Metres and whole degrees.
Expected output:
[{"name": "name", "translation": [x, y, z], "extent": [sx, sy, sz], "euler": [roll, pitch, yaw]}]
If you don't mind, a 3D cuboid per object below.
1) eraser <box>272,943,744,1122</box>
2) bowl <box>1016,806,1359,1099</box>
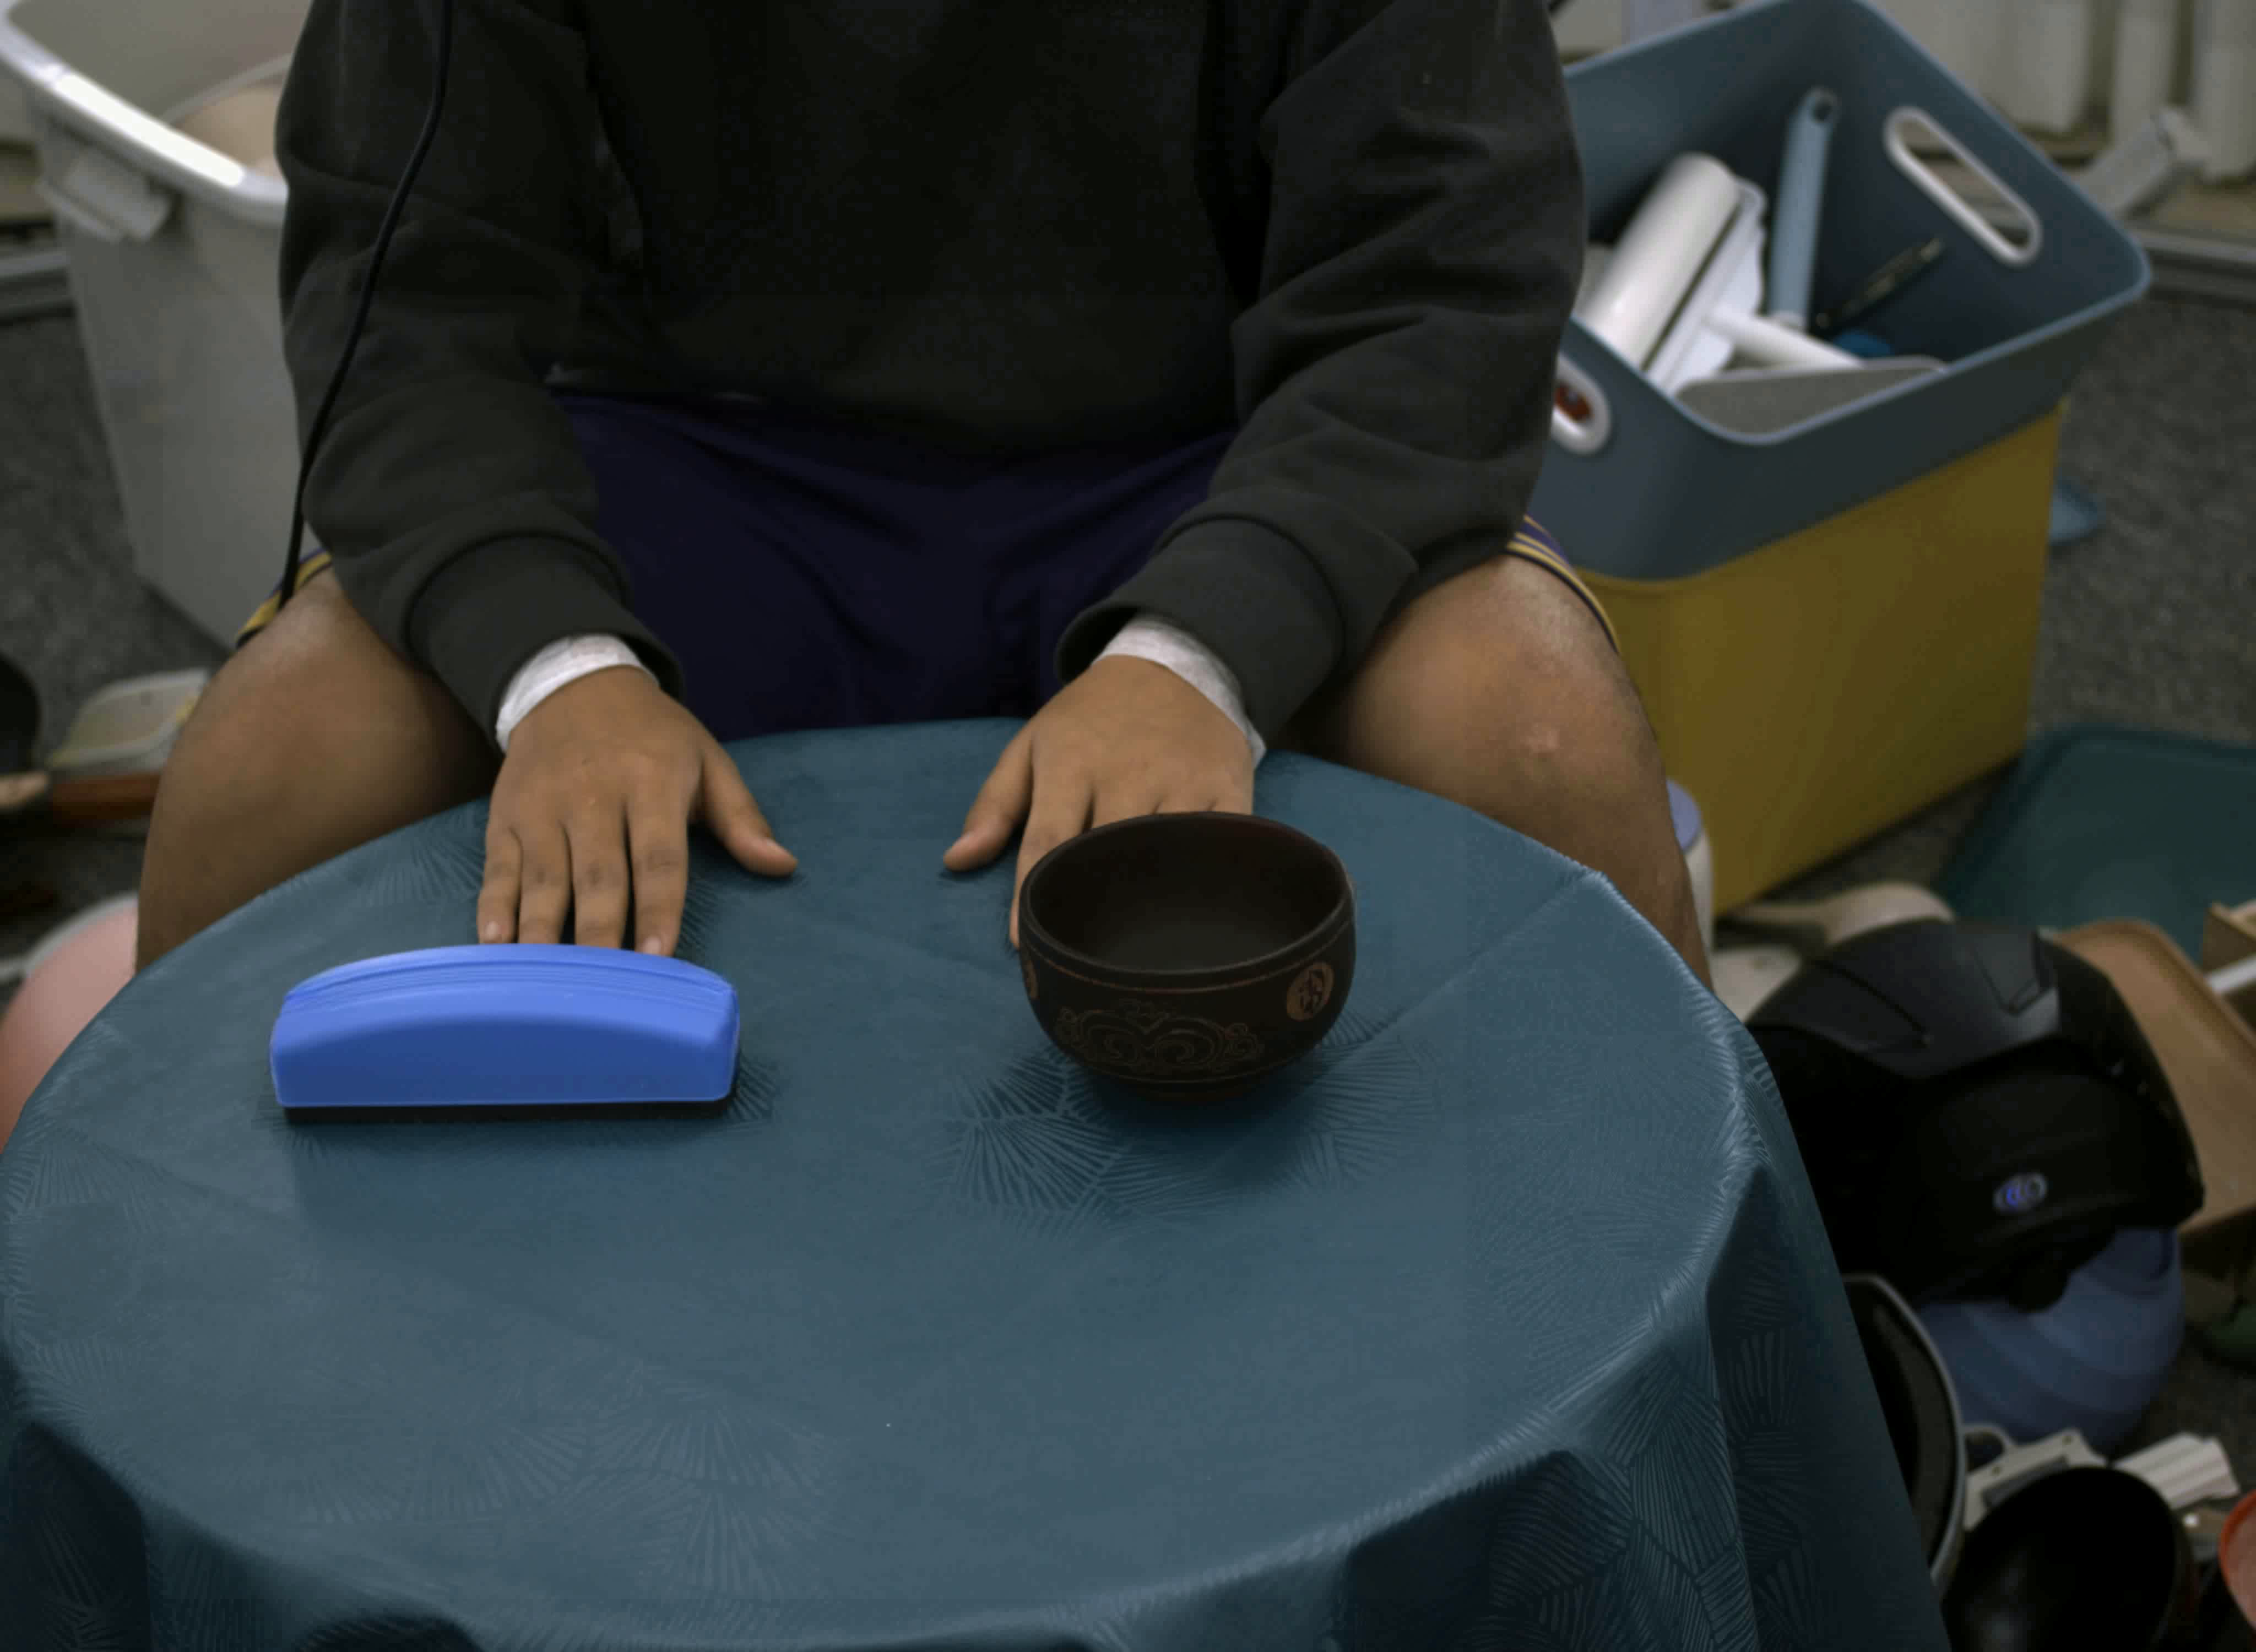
[{"name": "eraser", "translation": [-0.214, 0.071, 1.932], "extent": [0.161, 0.047, 0.055], "euler": [-1, 28, 3]}, {"name": "bowl", "translation": [0.021, 0.050, 1.919], "extent": [0.117, 0.069, 0.120], "euler": [-3, 26, 2]}]
